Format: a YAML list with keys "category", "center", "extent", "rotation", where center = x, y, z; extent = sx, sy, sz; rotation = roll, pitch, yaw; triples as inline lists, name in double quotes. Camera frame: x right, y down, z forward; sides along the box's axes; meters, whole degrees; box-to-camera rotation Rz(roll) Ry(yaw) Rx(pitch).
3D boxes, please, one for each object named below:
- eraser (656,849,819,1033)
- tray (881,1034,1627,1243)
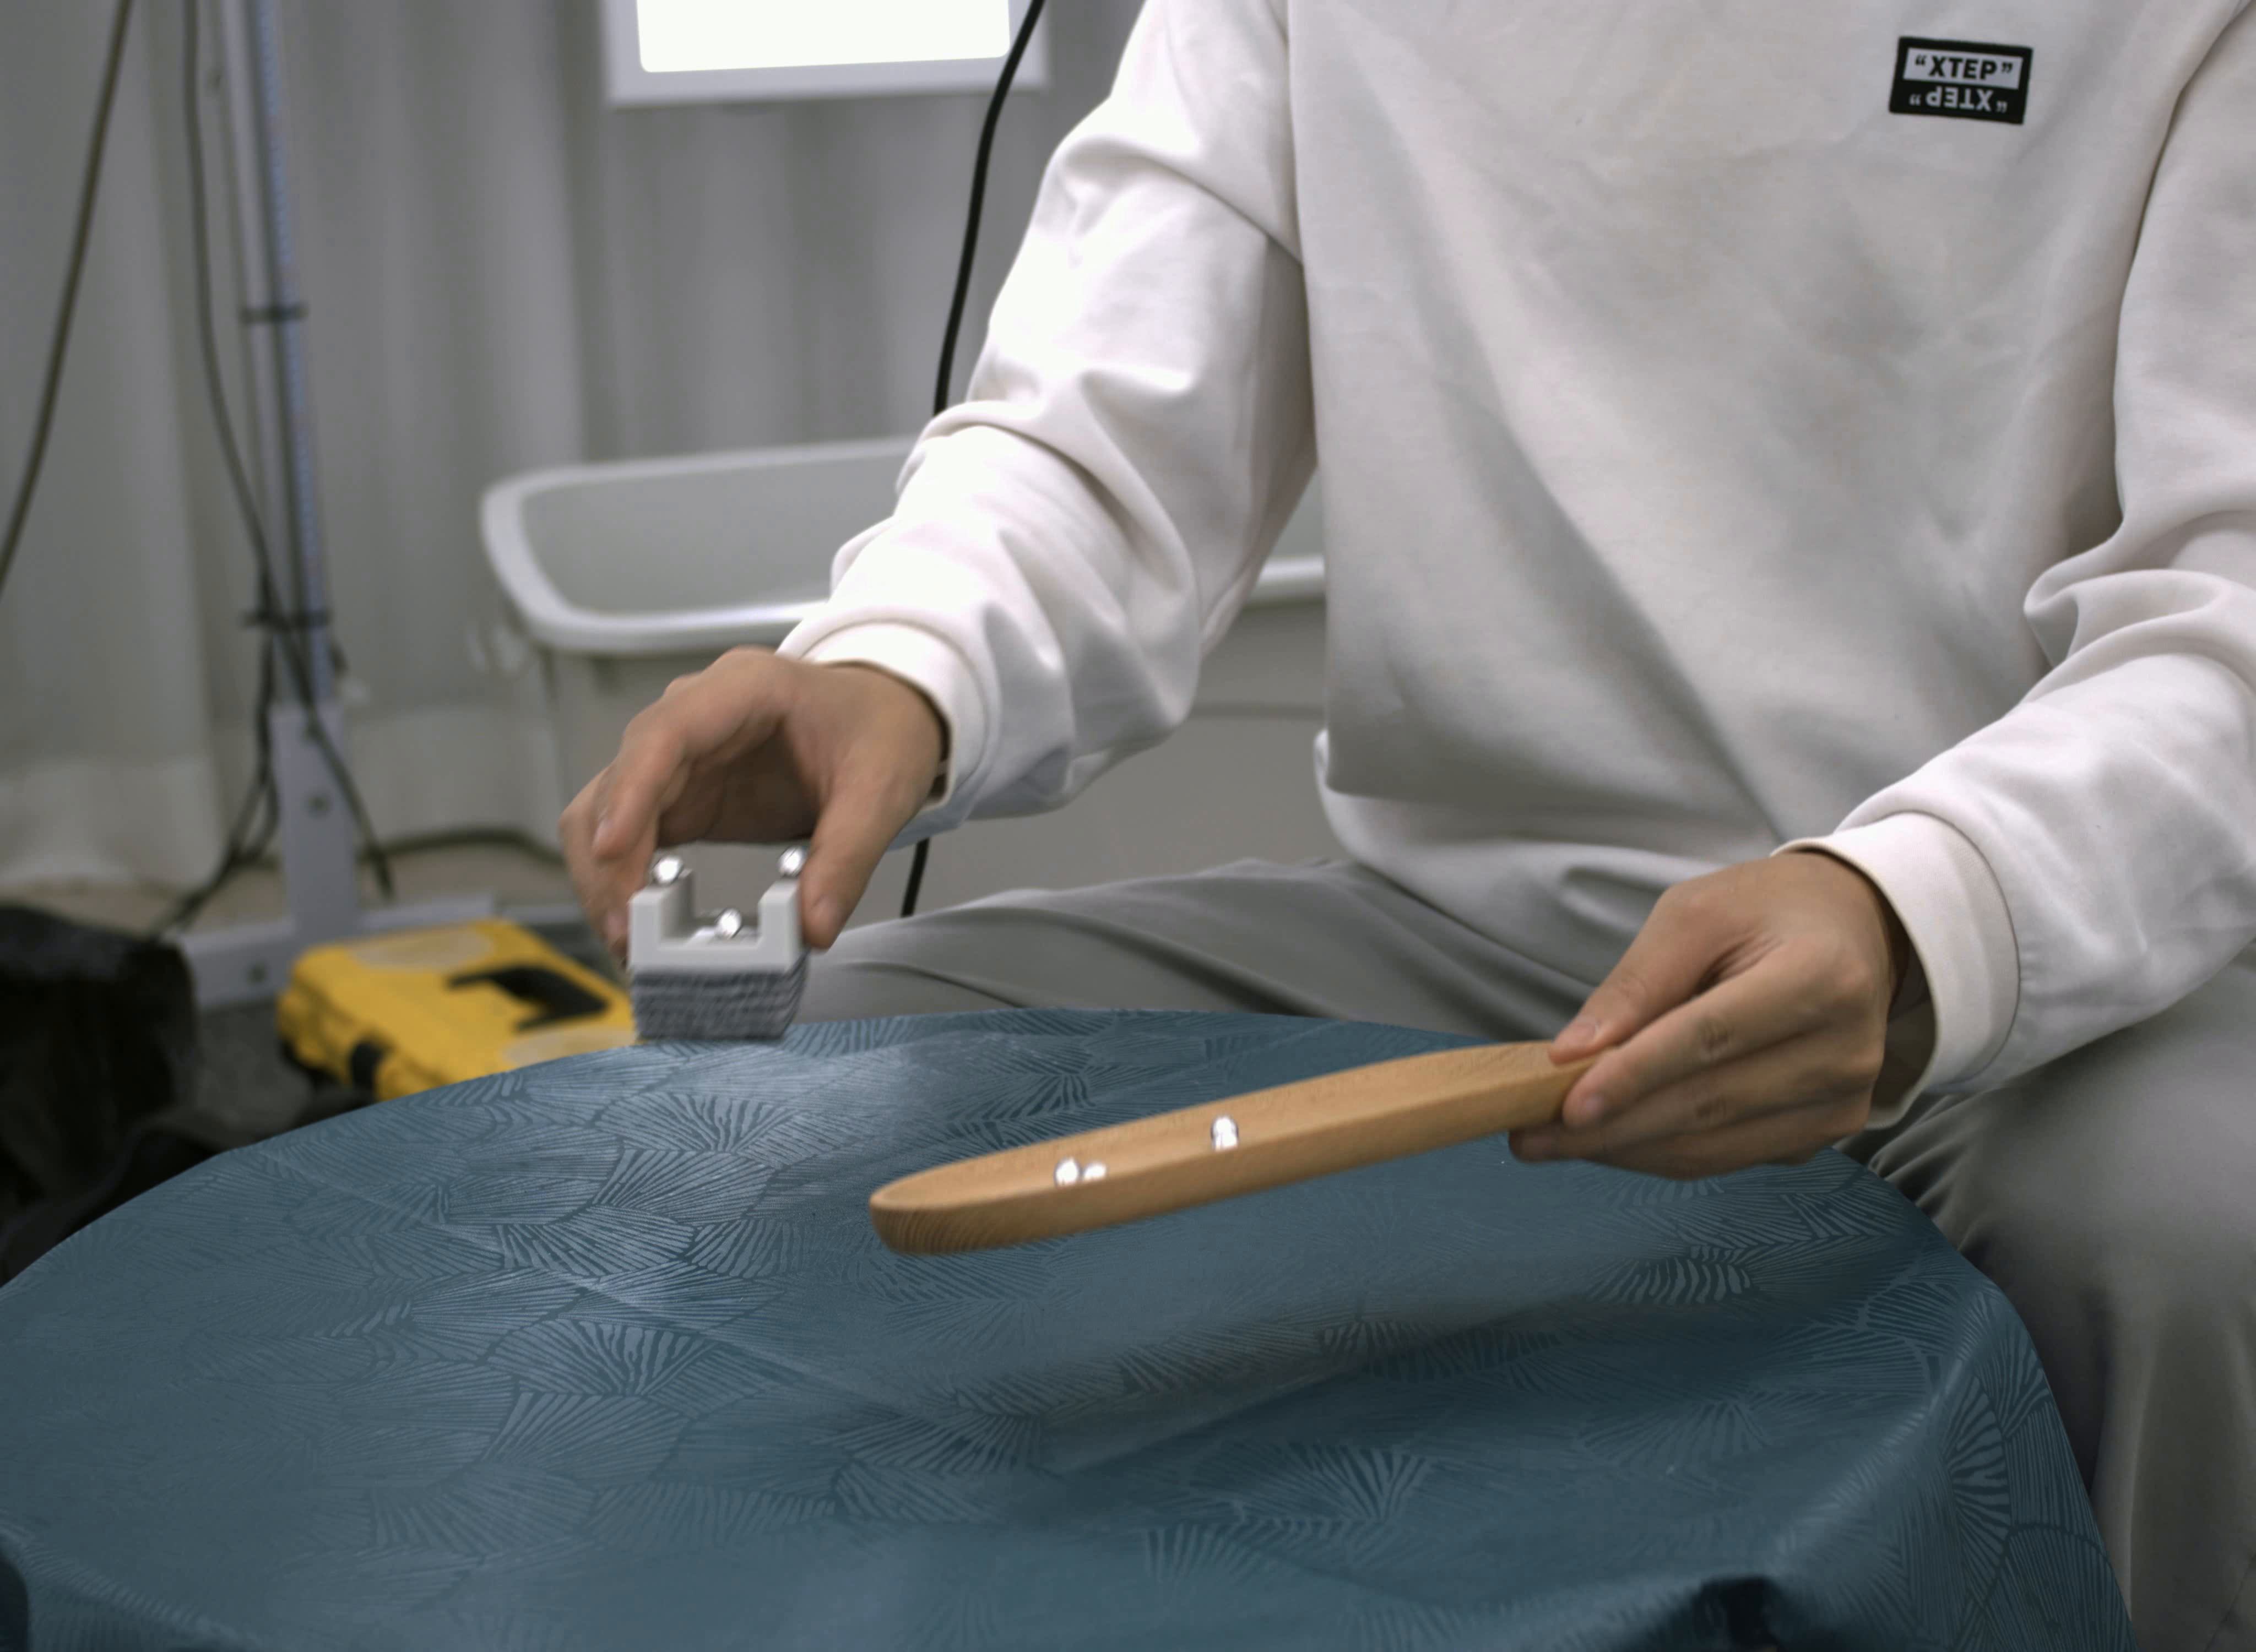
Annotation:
- category: "eraser"
  center: [-0.123, 0.035, 1.721]
  extent: [0.049, 0.046, 0.134]
  rotation: [3, 4, -4]
- category: "tray"
  center: [0.038, 0.087, 1.547]
  extent: [0.230, 0.020, 0.102]
  rotation: [-10, 4, -29]
